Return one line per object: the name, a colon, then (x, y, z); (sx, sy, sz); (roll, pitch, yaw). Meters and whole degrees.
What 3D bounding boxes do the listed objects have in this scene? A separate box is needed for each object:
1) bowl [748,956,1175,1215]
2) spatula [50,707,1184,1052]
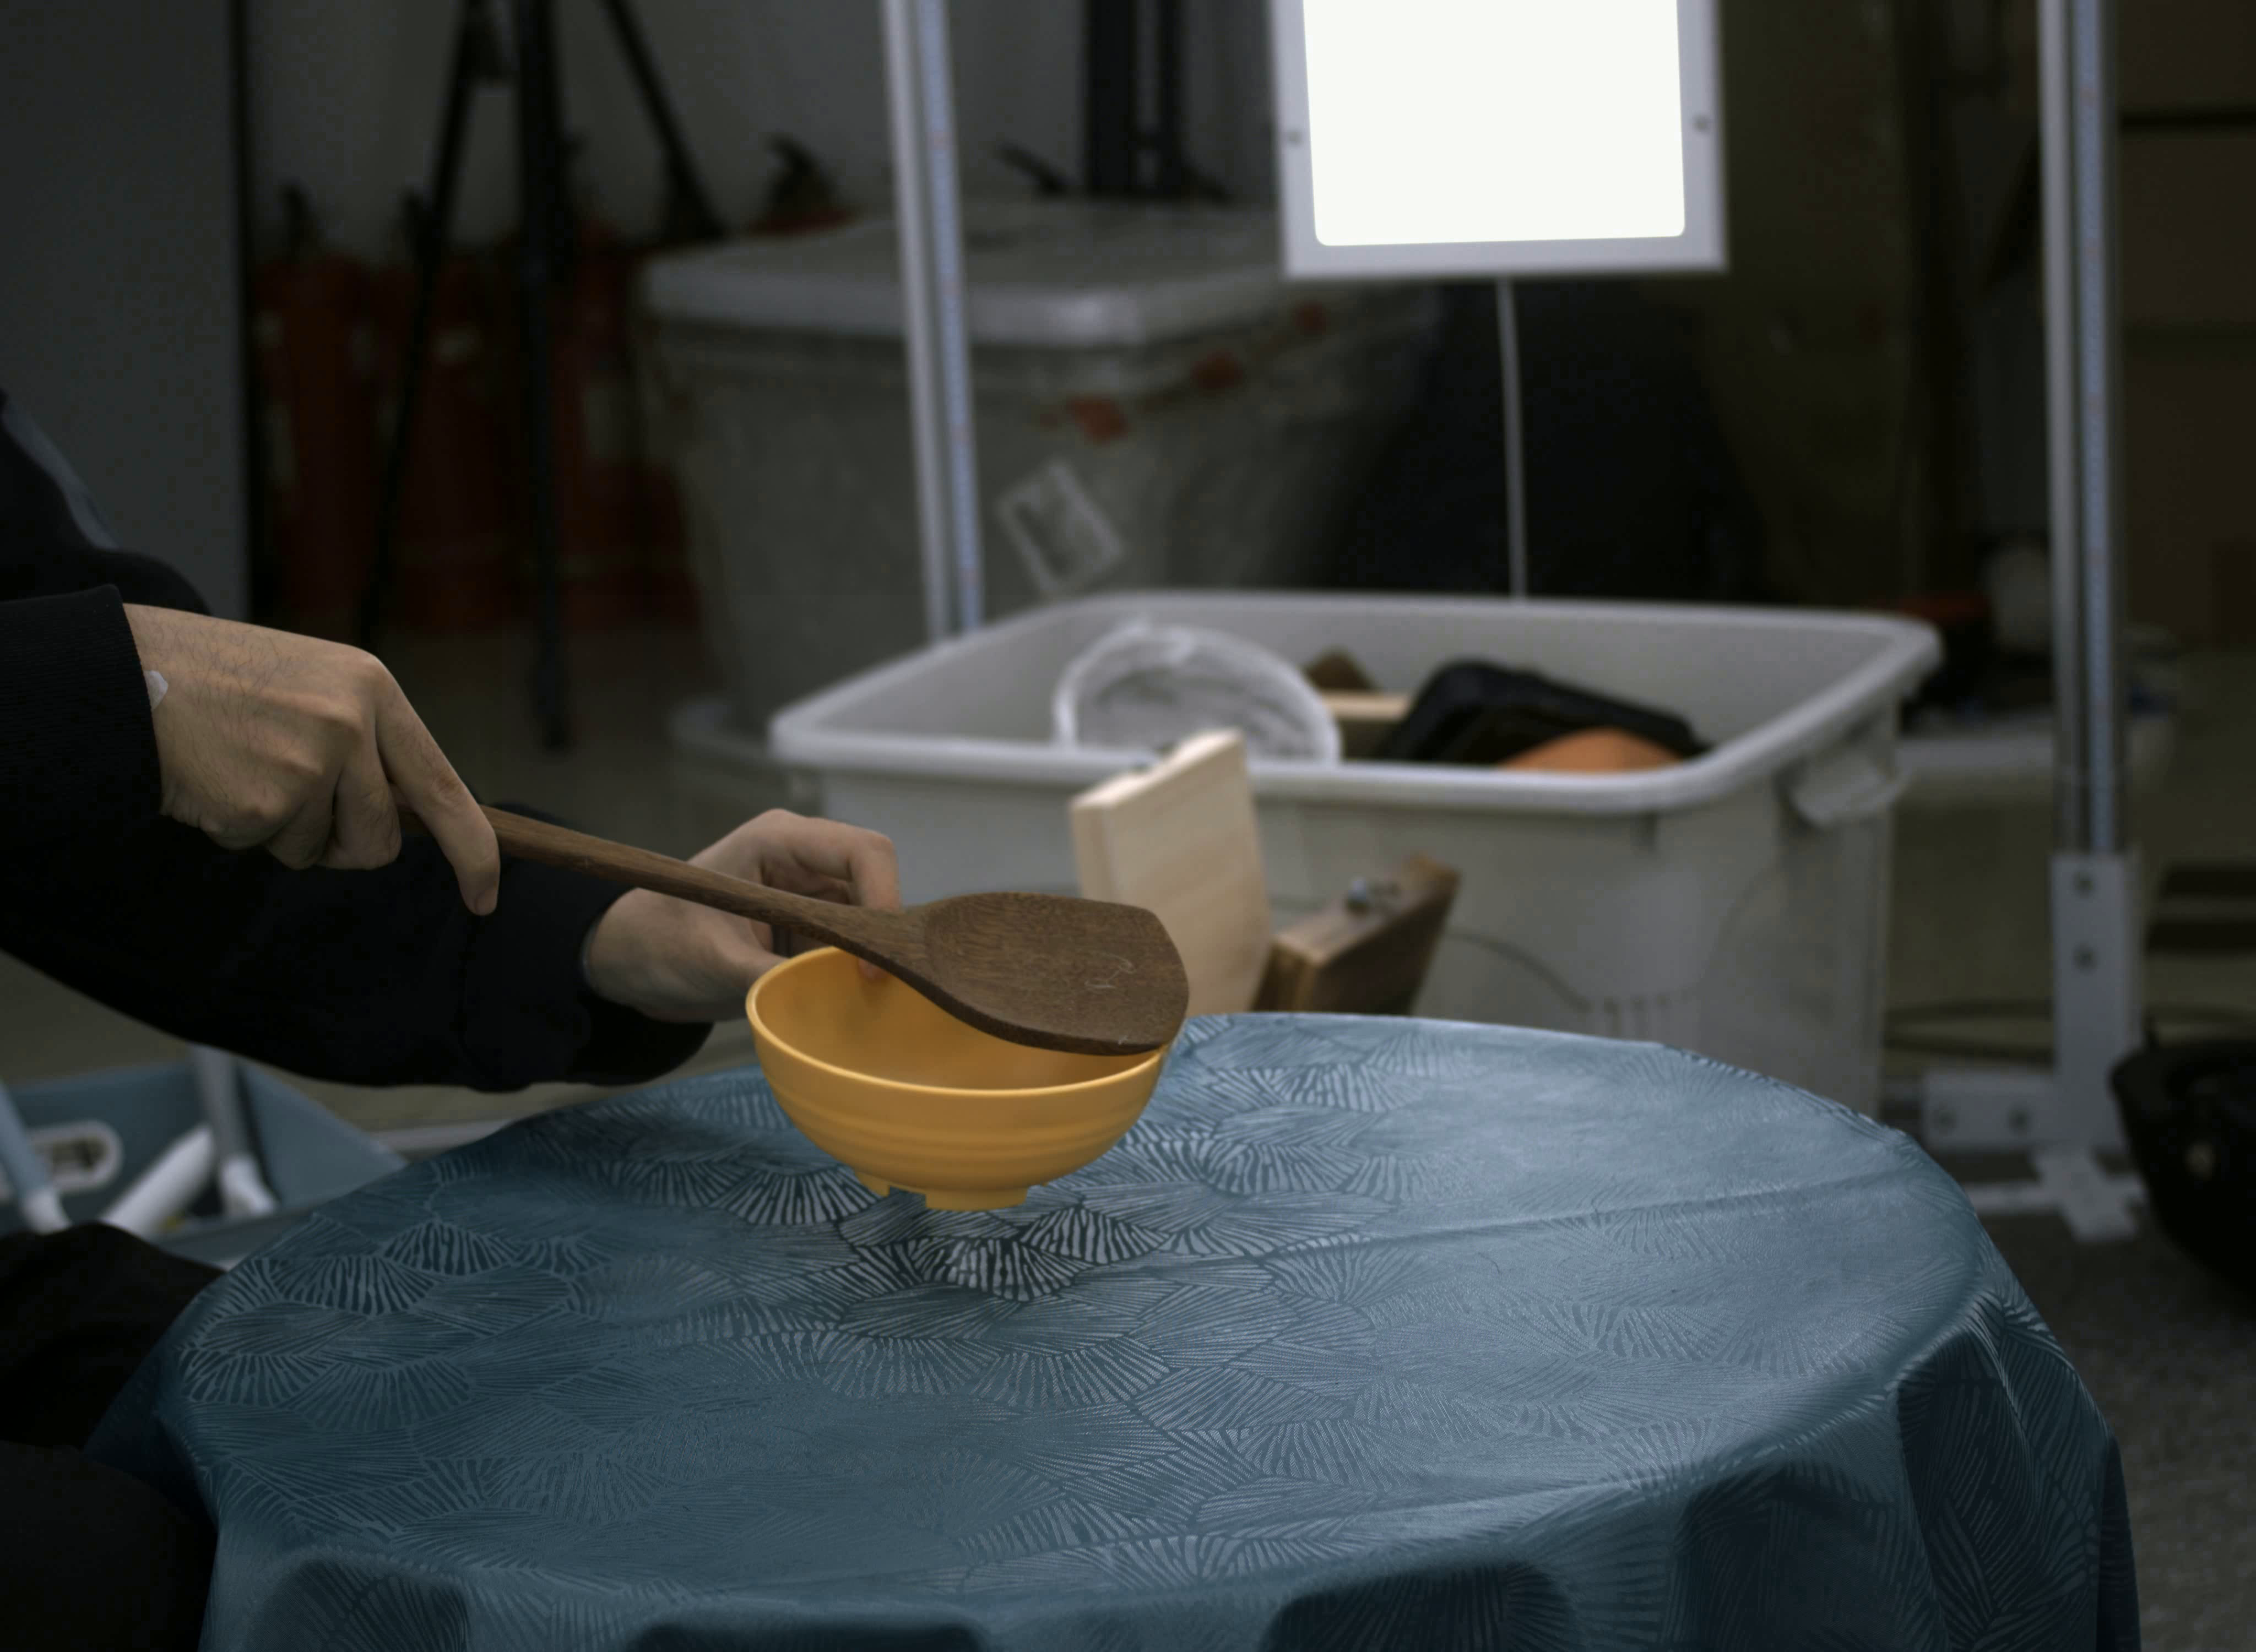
bowl: (-0.058, 0.091, 1.838); (0.144, 0.060, 0.145); (4, 15, -2)
spatula: (-0.166, 0.012, 1.826); (0.382, 0.016, 0.096); (14, 28, -8)
